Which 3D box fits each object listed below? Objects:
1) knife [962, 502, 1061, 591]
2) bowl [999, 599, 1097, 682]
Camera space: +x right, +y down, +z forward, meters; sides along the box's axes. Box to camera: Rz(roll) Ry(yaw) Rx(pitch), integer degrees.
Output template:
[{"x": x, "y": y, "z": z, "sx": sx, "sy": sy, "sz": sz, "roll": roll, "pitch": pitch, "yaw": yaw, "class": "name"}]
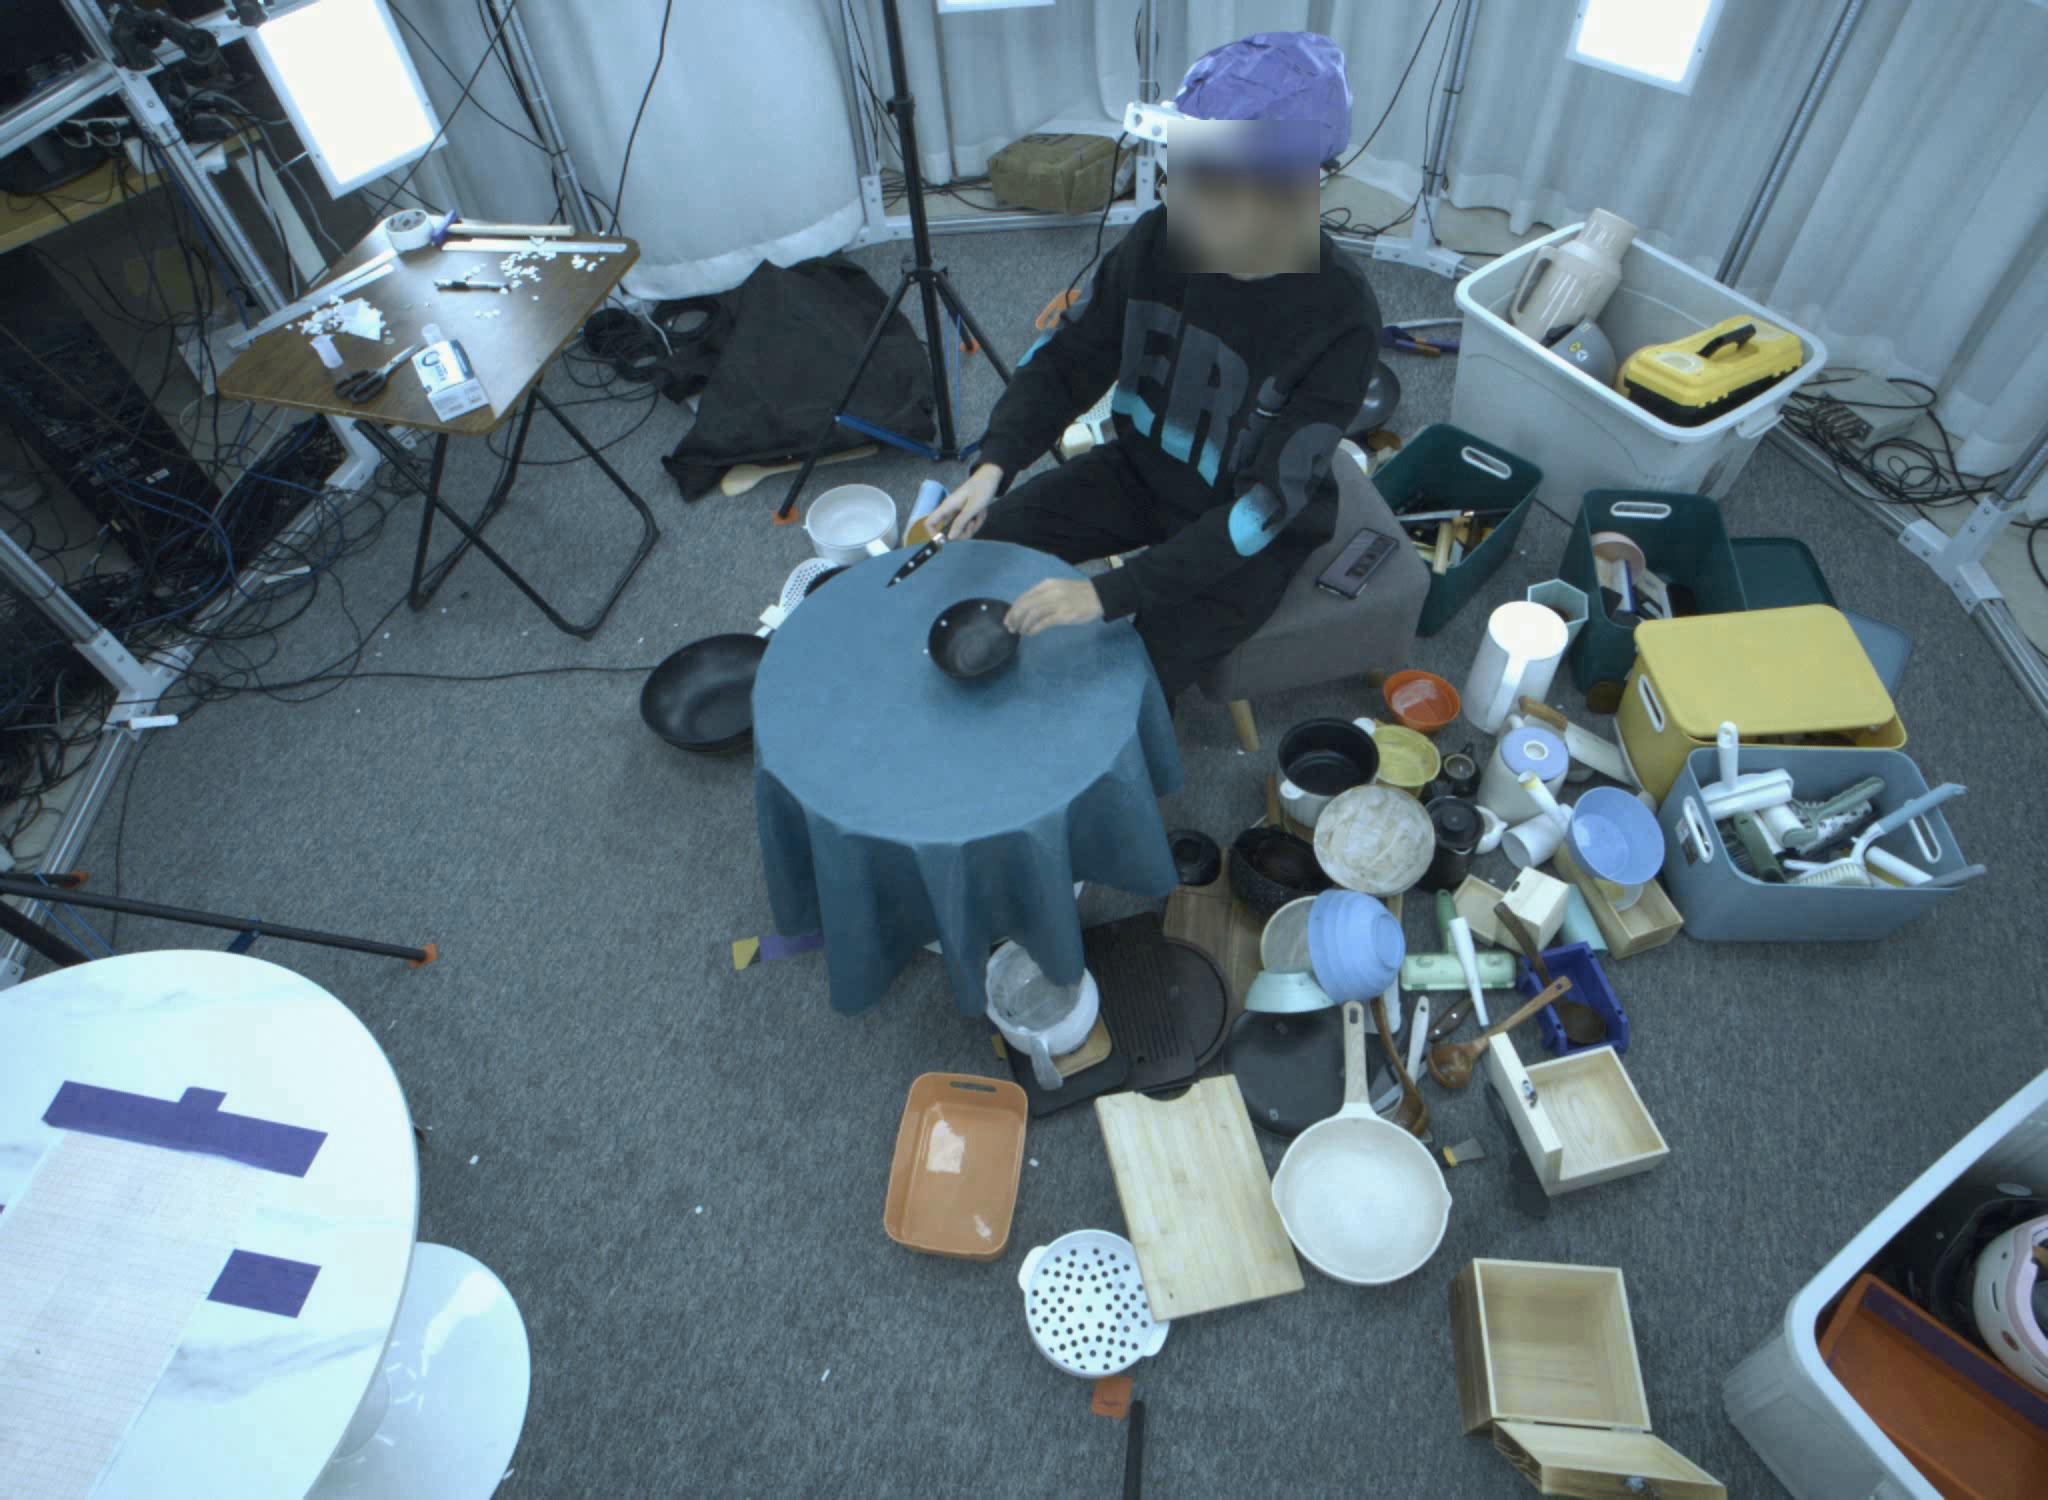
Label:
[{"x": -0.020, "y": -0.319, "z": 1.906, "sx": 0.227, "sy": 0.026, "sz": 0.017, "roll": -43, "pitch": 25, "yaw": -23, "class": "knife"}, {"x": 0.037, "y": -0.158, "z": 1.858, "sx": 0.135, "sy": 0.067, "sz": 0.171, "roll": 23, "pitch": 57, "yaw": 18, "class": "bowl"}]
